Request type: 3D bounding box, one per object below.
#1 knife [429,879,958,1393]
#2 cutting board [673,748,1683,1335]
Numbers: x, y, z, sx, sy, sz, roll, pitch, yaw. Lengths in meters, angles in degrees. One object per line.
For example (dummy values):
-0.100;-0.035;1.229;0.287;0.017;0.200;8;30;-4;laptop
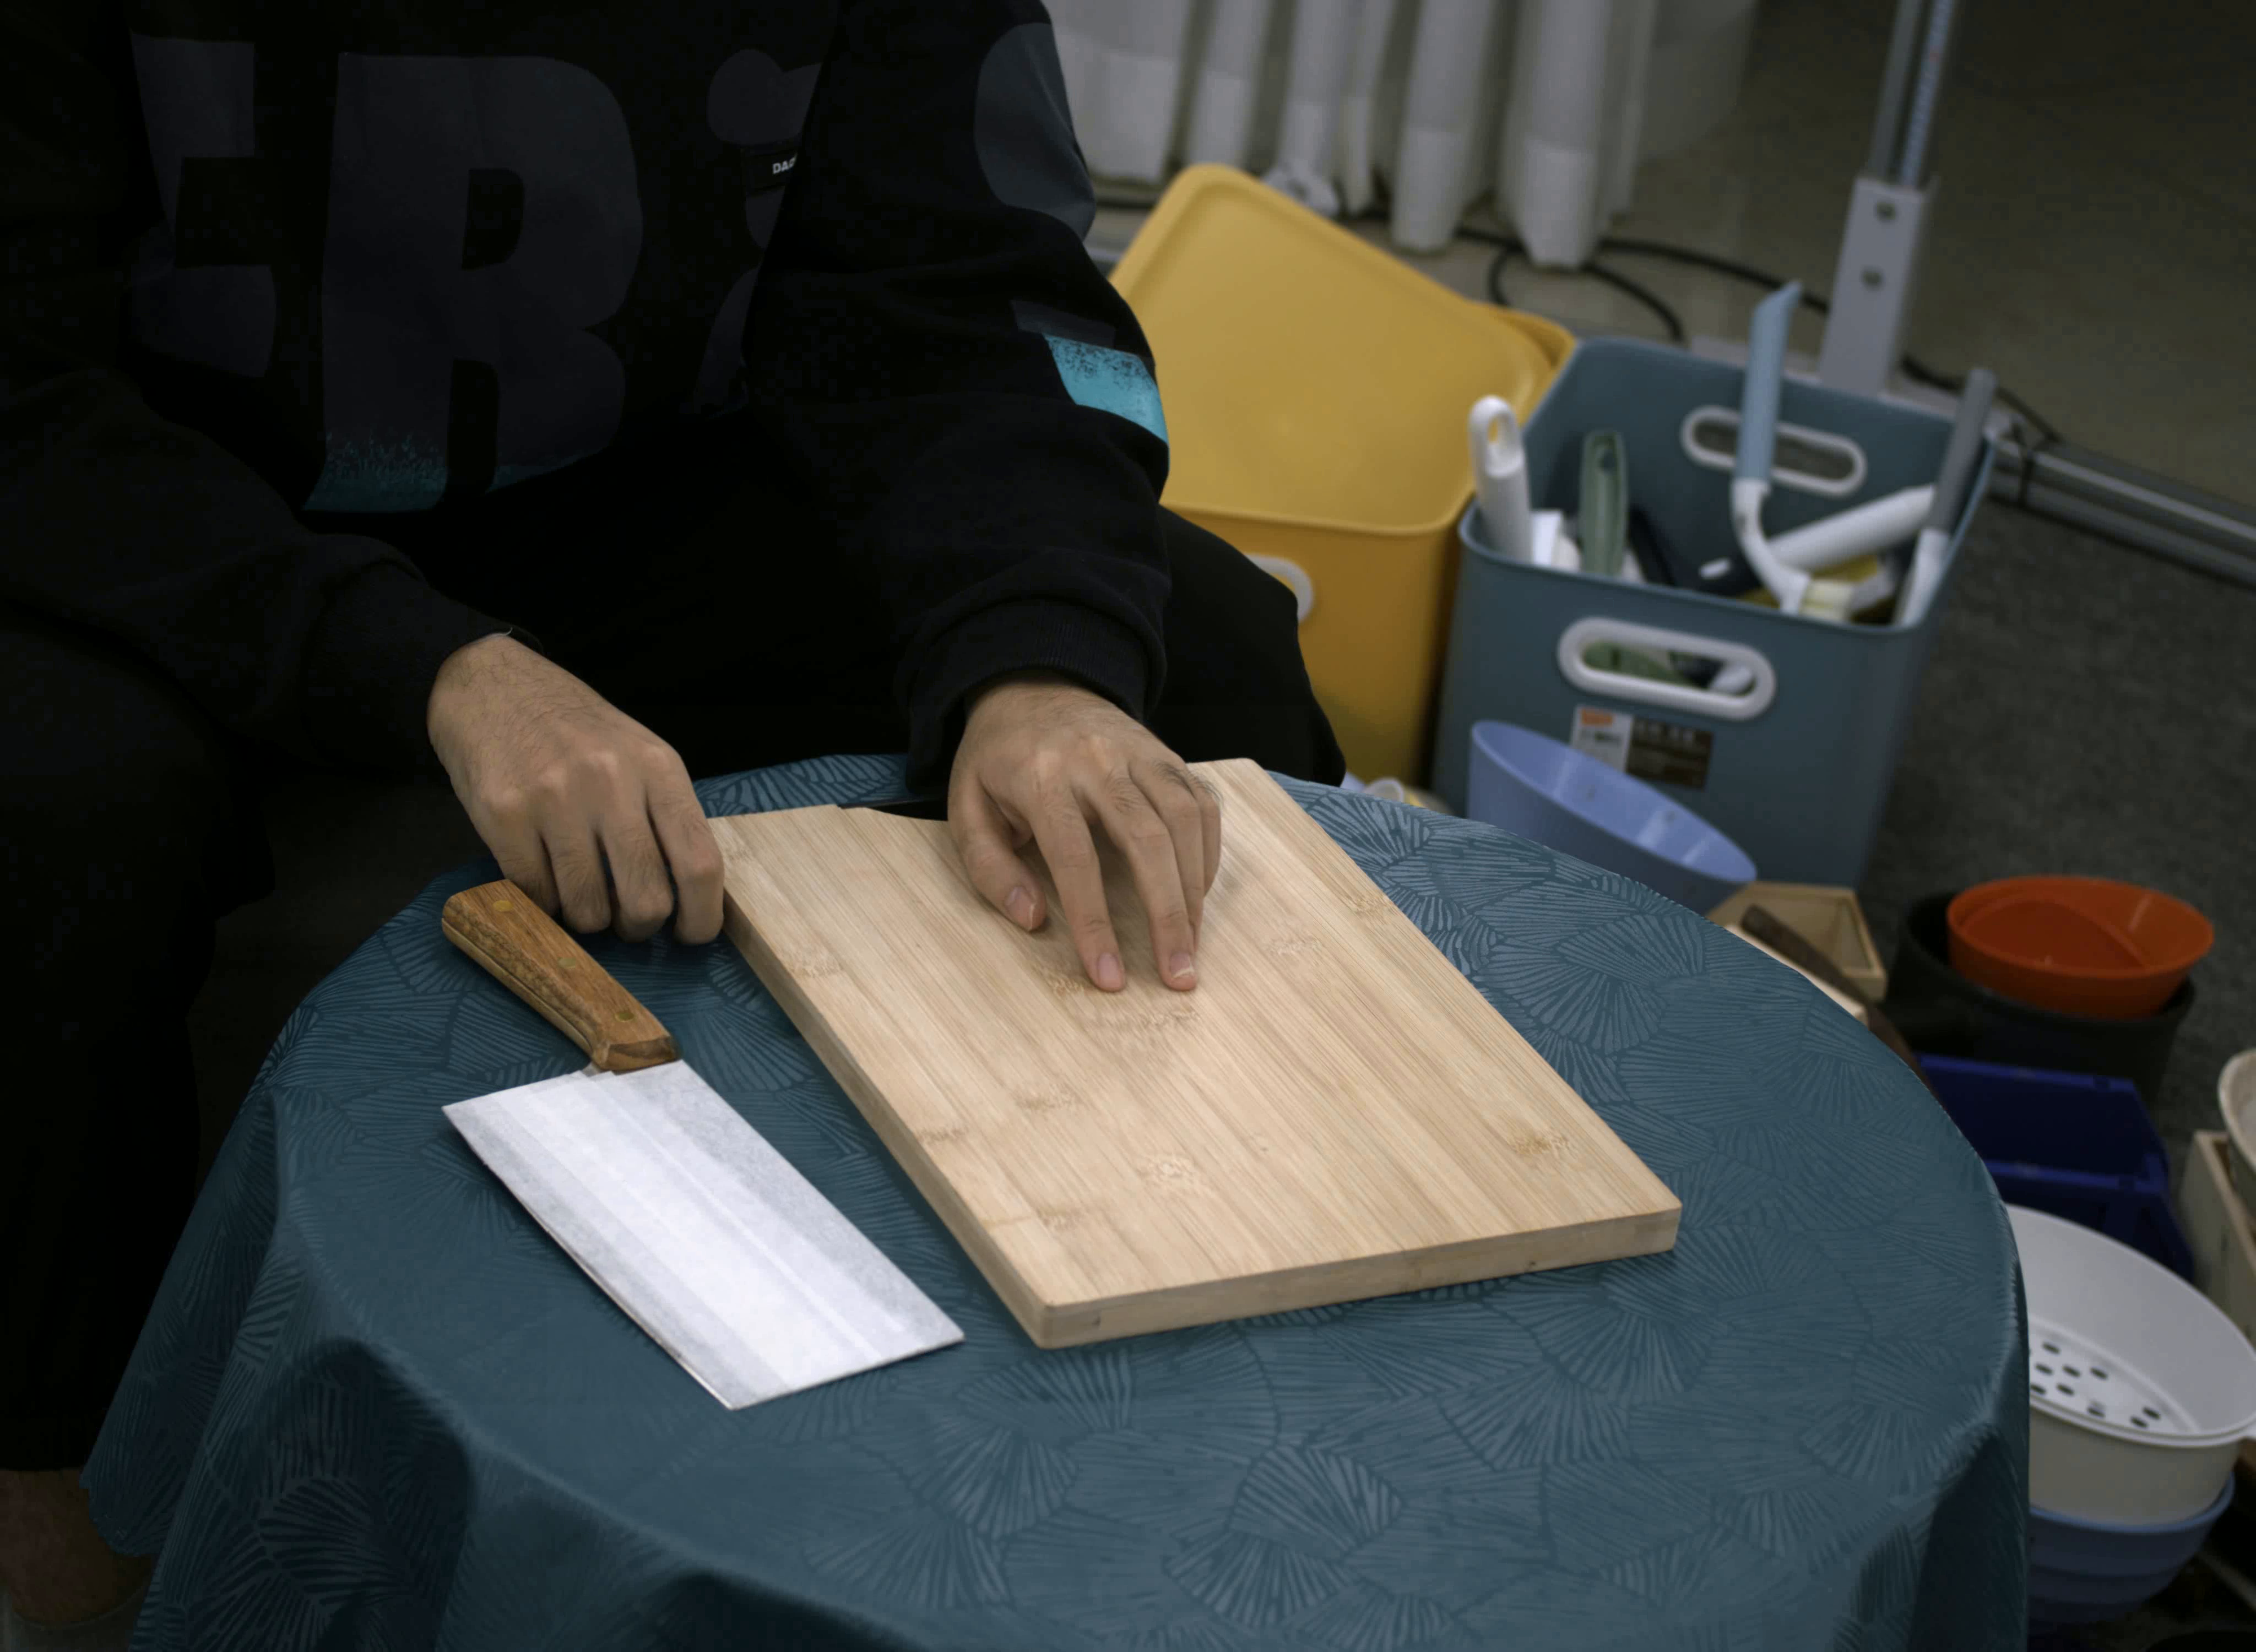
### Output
-0.172;0.103;1.788;0.092;0.021;0.308;-14;36;-32;knife
0.009;0.069;1.892;0.249;0.023;0.352;-7;30;-25;cutting board
